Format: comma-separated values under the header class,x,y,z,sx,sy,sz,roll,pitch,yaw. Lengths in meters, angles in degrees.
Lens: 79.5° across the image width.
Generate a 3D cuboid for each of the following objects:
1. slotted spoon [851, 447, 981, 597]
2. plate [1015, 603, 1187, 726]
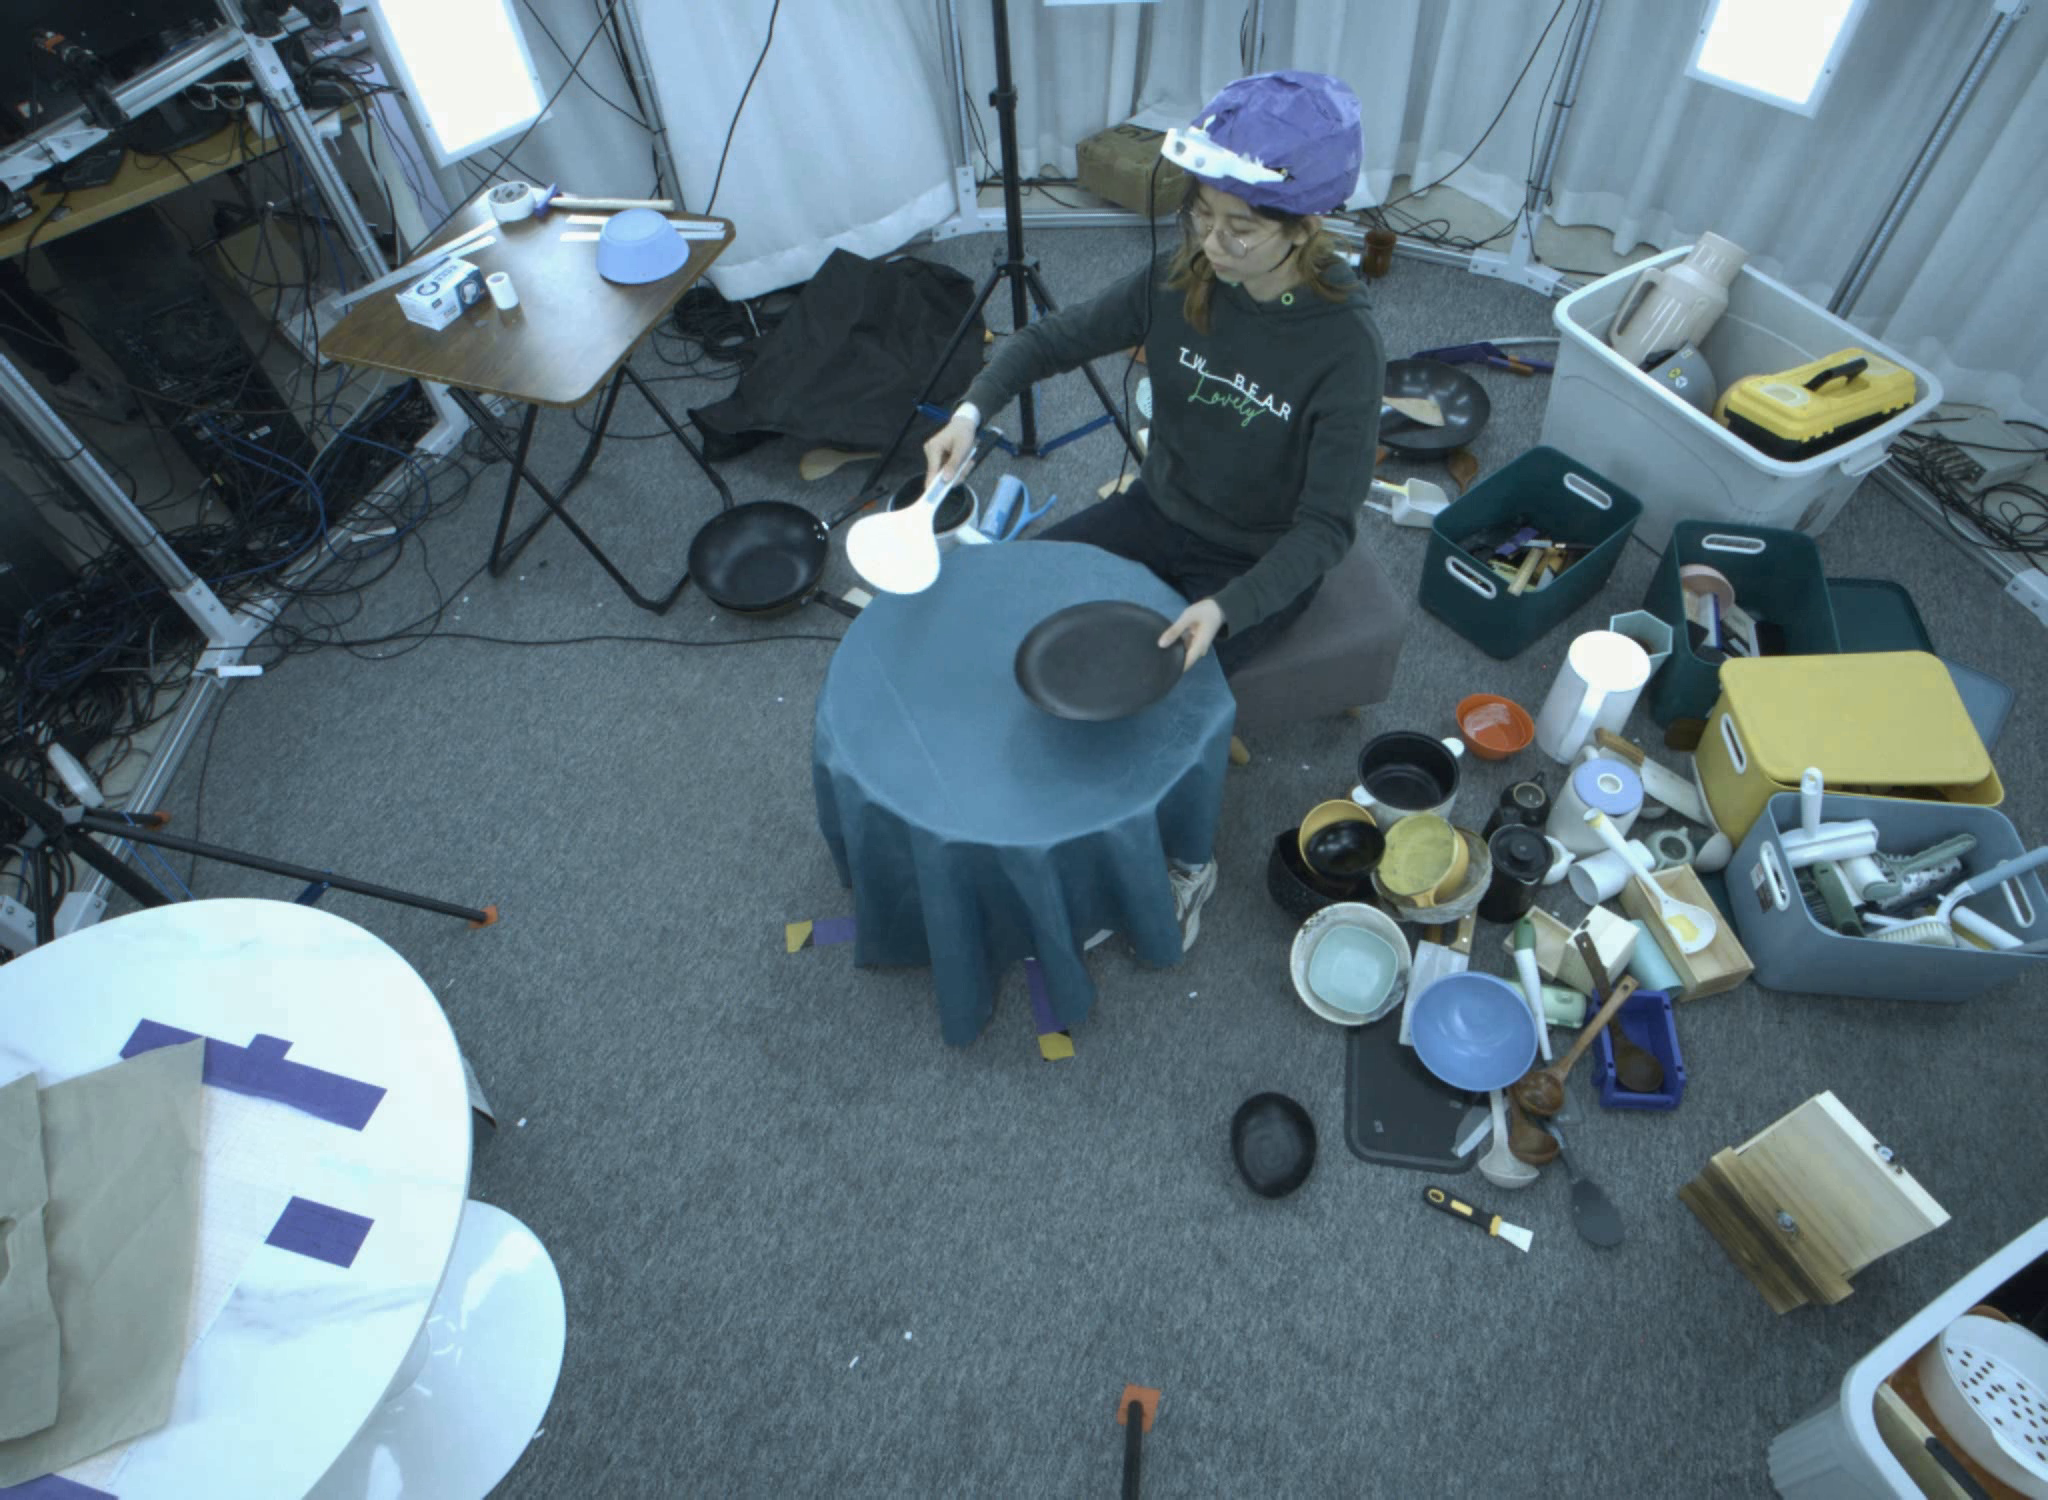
class,x,y,z,sx,sy,sz,roll,pitch,yaw
slotted spoon,-0.145,-0.345,1.793,0.137,0.045,0.349,31,57,-7
plate,0.109,-0.118,1.745,0.243,0.024,0.242,-3,50,5
